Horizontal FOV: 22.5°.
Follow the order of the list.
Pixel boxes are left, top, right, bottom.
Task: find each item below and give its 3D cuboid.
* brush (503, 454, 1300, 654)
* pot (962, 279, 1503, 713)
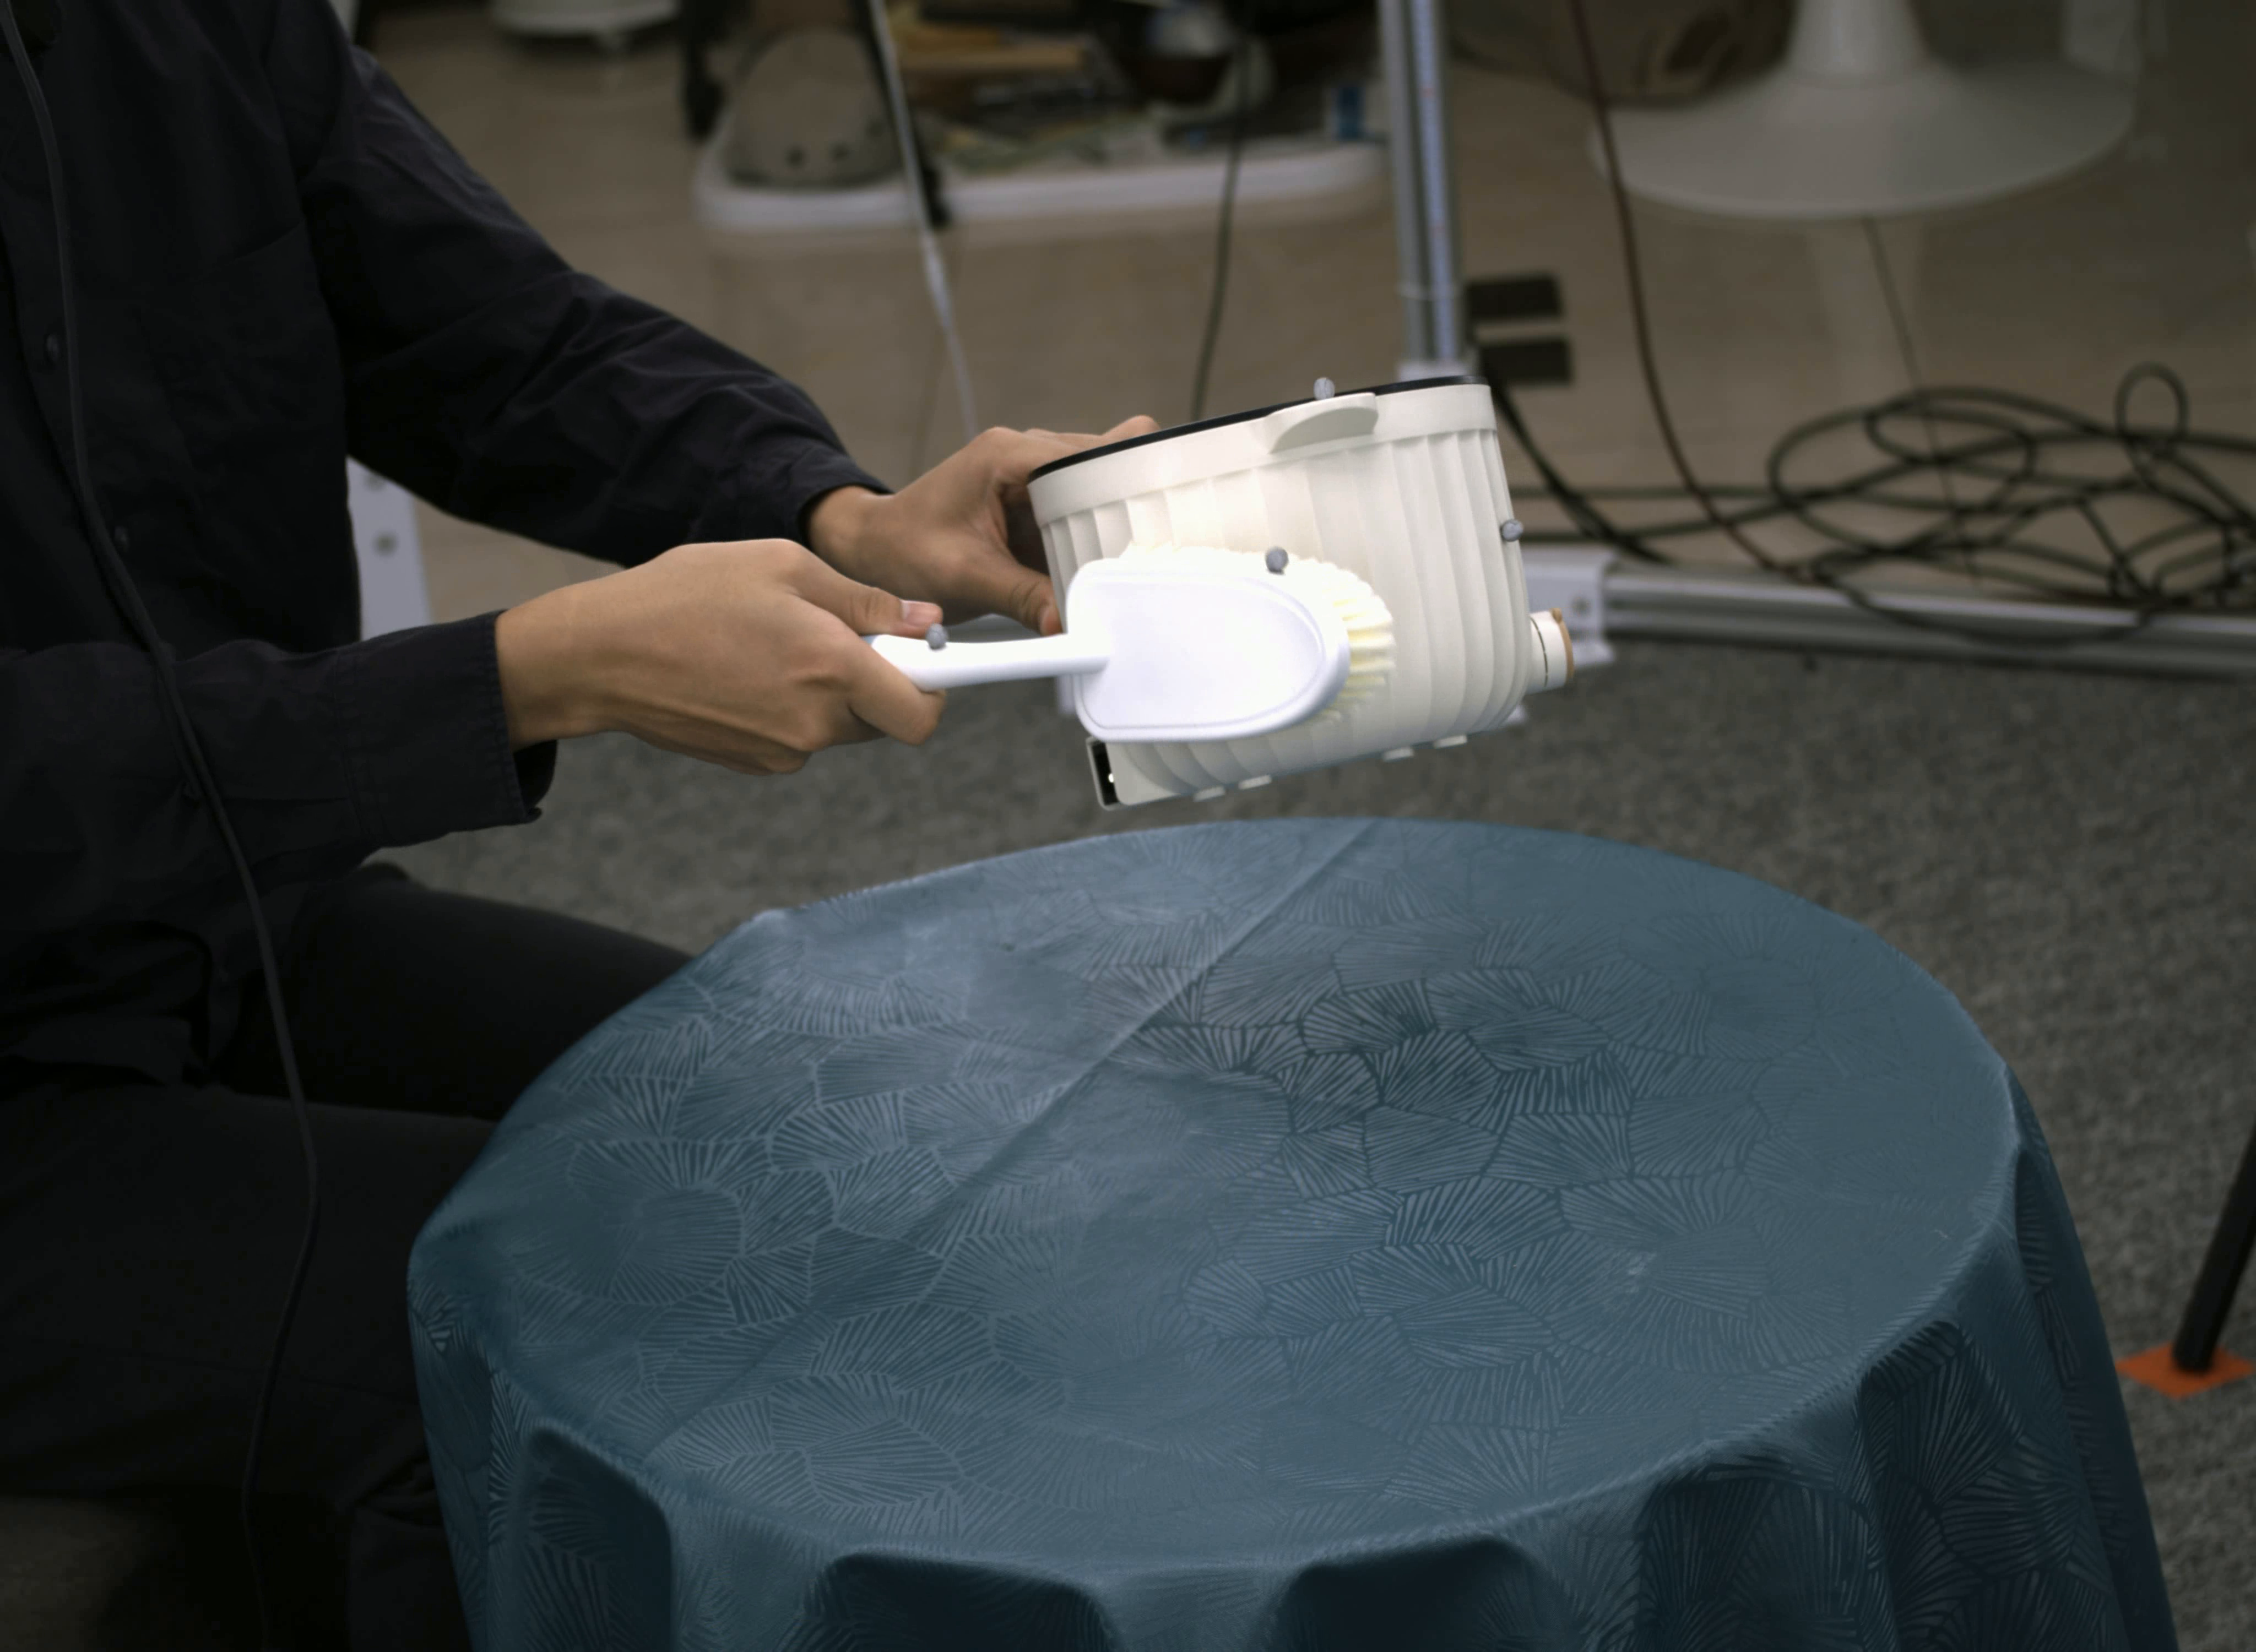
[{"bbox_3d":[-0.082,-0.102,2.118,0.325,0.085,0.082,-1,64,26],"label":"brush"},{"bbox_3d":[0.043,-0.128,2.203,0.190,0.143,0.240,-15,2,-13],"label":"pot"}]
